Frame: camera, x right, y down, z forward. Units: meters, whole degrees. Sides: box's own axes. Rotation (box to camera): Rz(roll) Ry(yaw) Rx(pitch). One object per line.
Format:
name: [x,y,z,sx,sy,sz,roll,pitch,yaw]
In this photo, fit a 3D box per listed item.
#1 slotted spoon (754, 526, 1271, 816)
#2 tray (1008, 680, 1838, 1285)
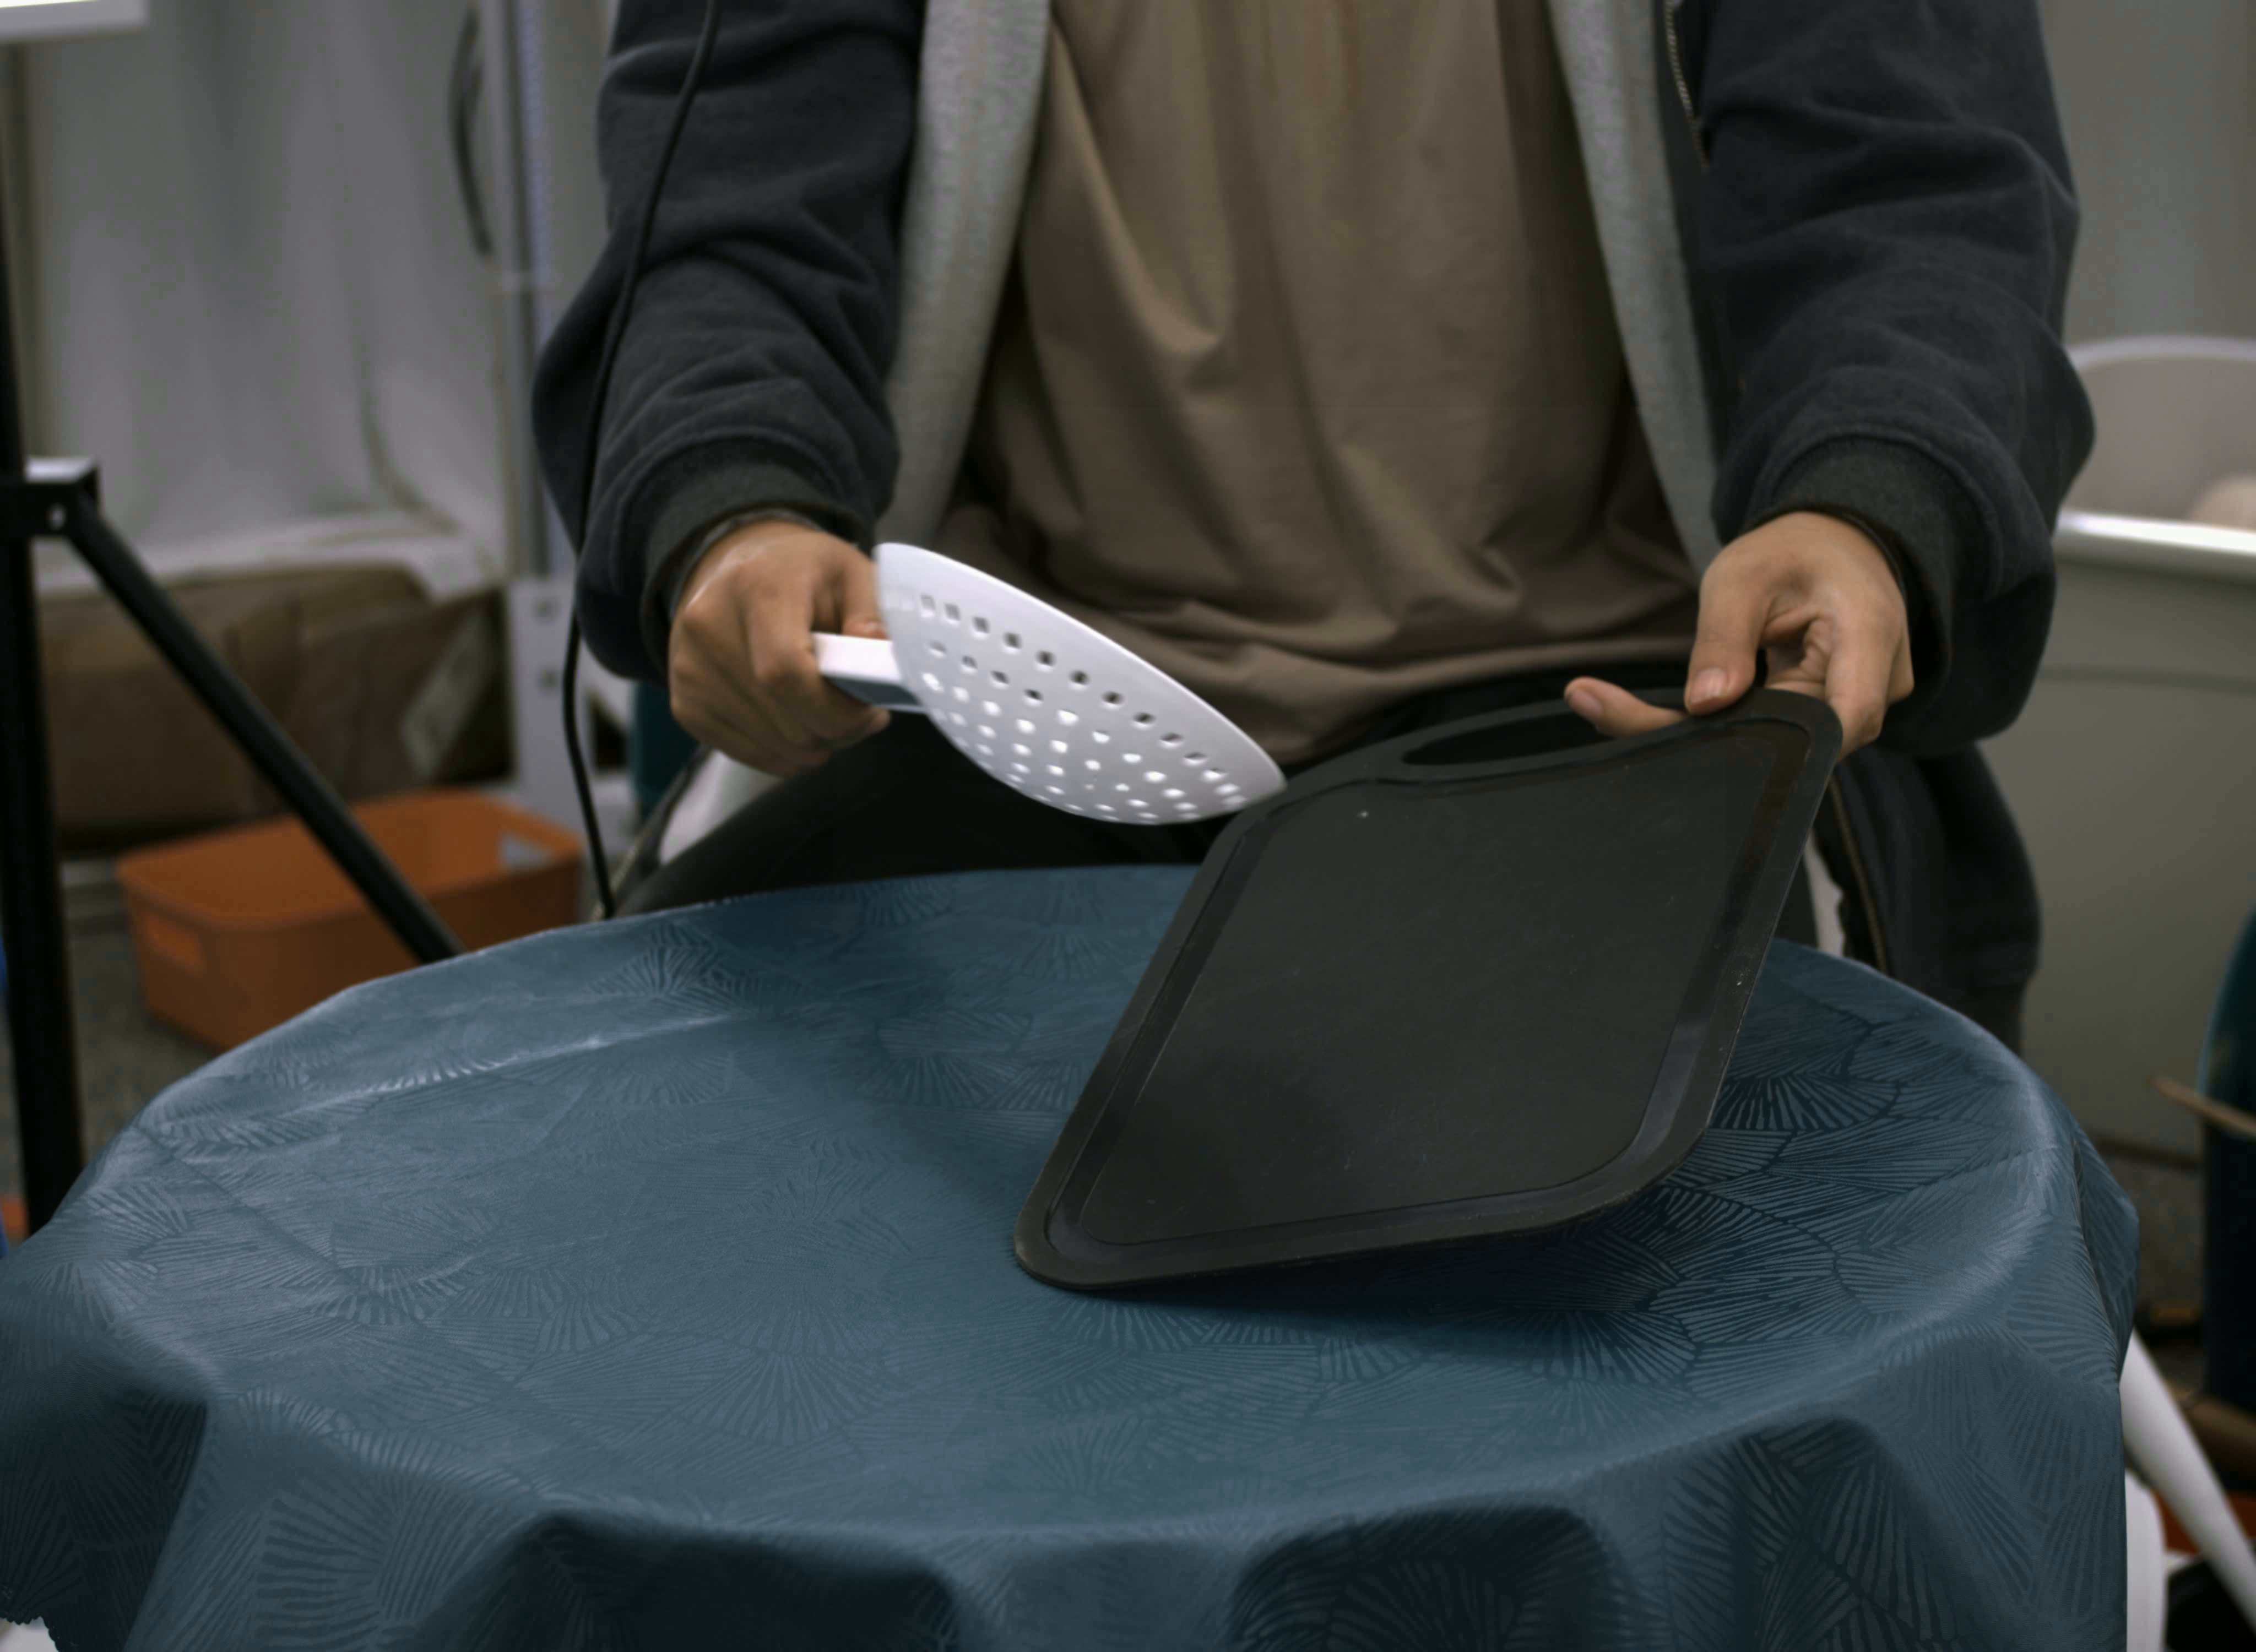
slotted spoon: [-0.057,-0.047,1.645,0.134,0.046,0.354,34,-4,-18]
tray: [0.094,0.038,1.579,0.214,0.010,0.324,-10,26,24]
